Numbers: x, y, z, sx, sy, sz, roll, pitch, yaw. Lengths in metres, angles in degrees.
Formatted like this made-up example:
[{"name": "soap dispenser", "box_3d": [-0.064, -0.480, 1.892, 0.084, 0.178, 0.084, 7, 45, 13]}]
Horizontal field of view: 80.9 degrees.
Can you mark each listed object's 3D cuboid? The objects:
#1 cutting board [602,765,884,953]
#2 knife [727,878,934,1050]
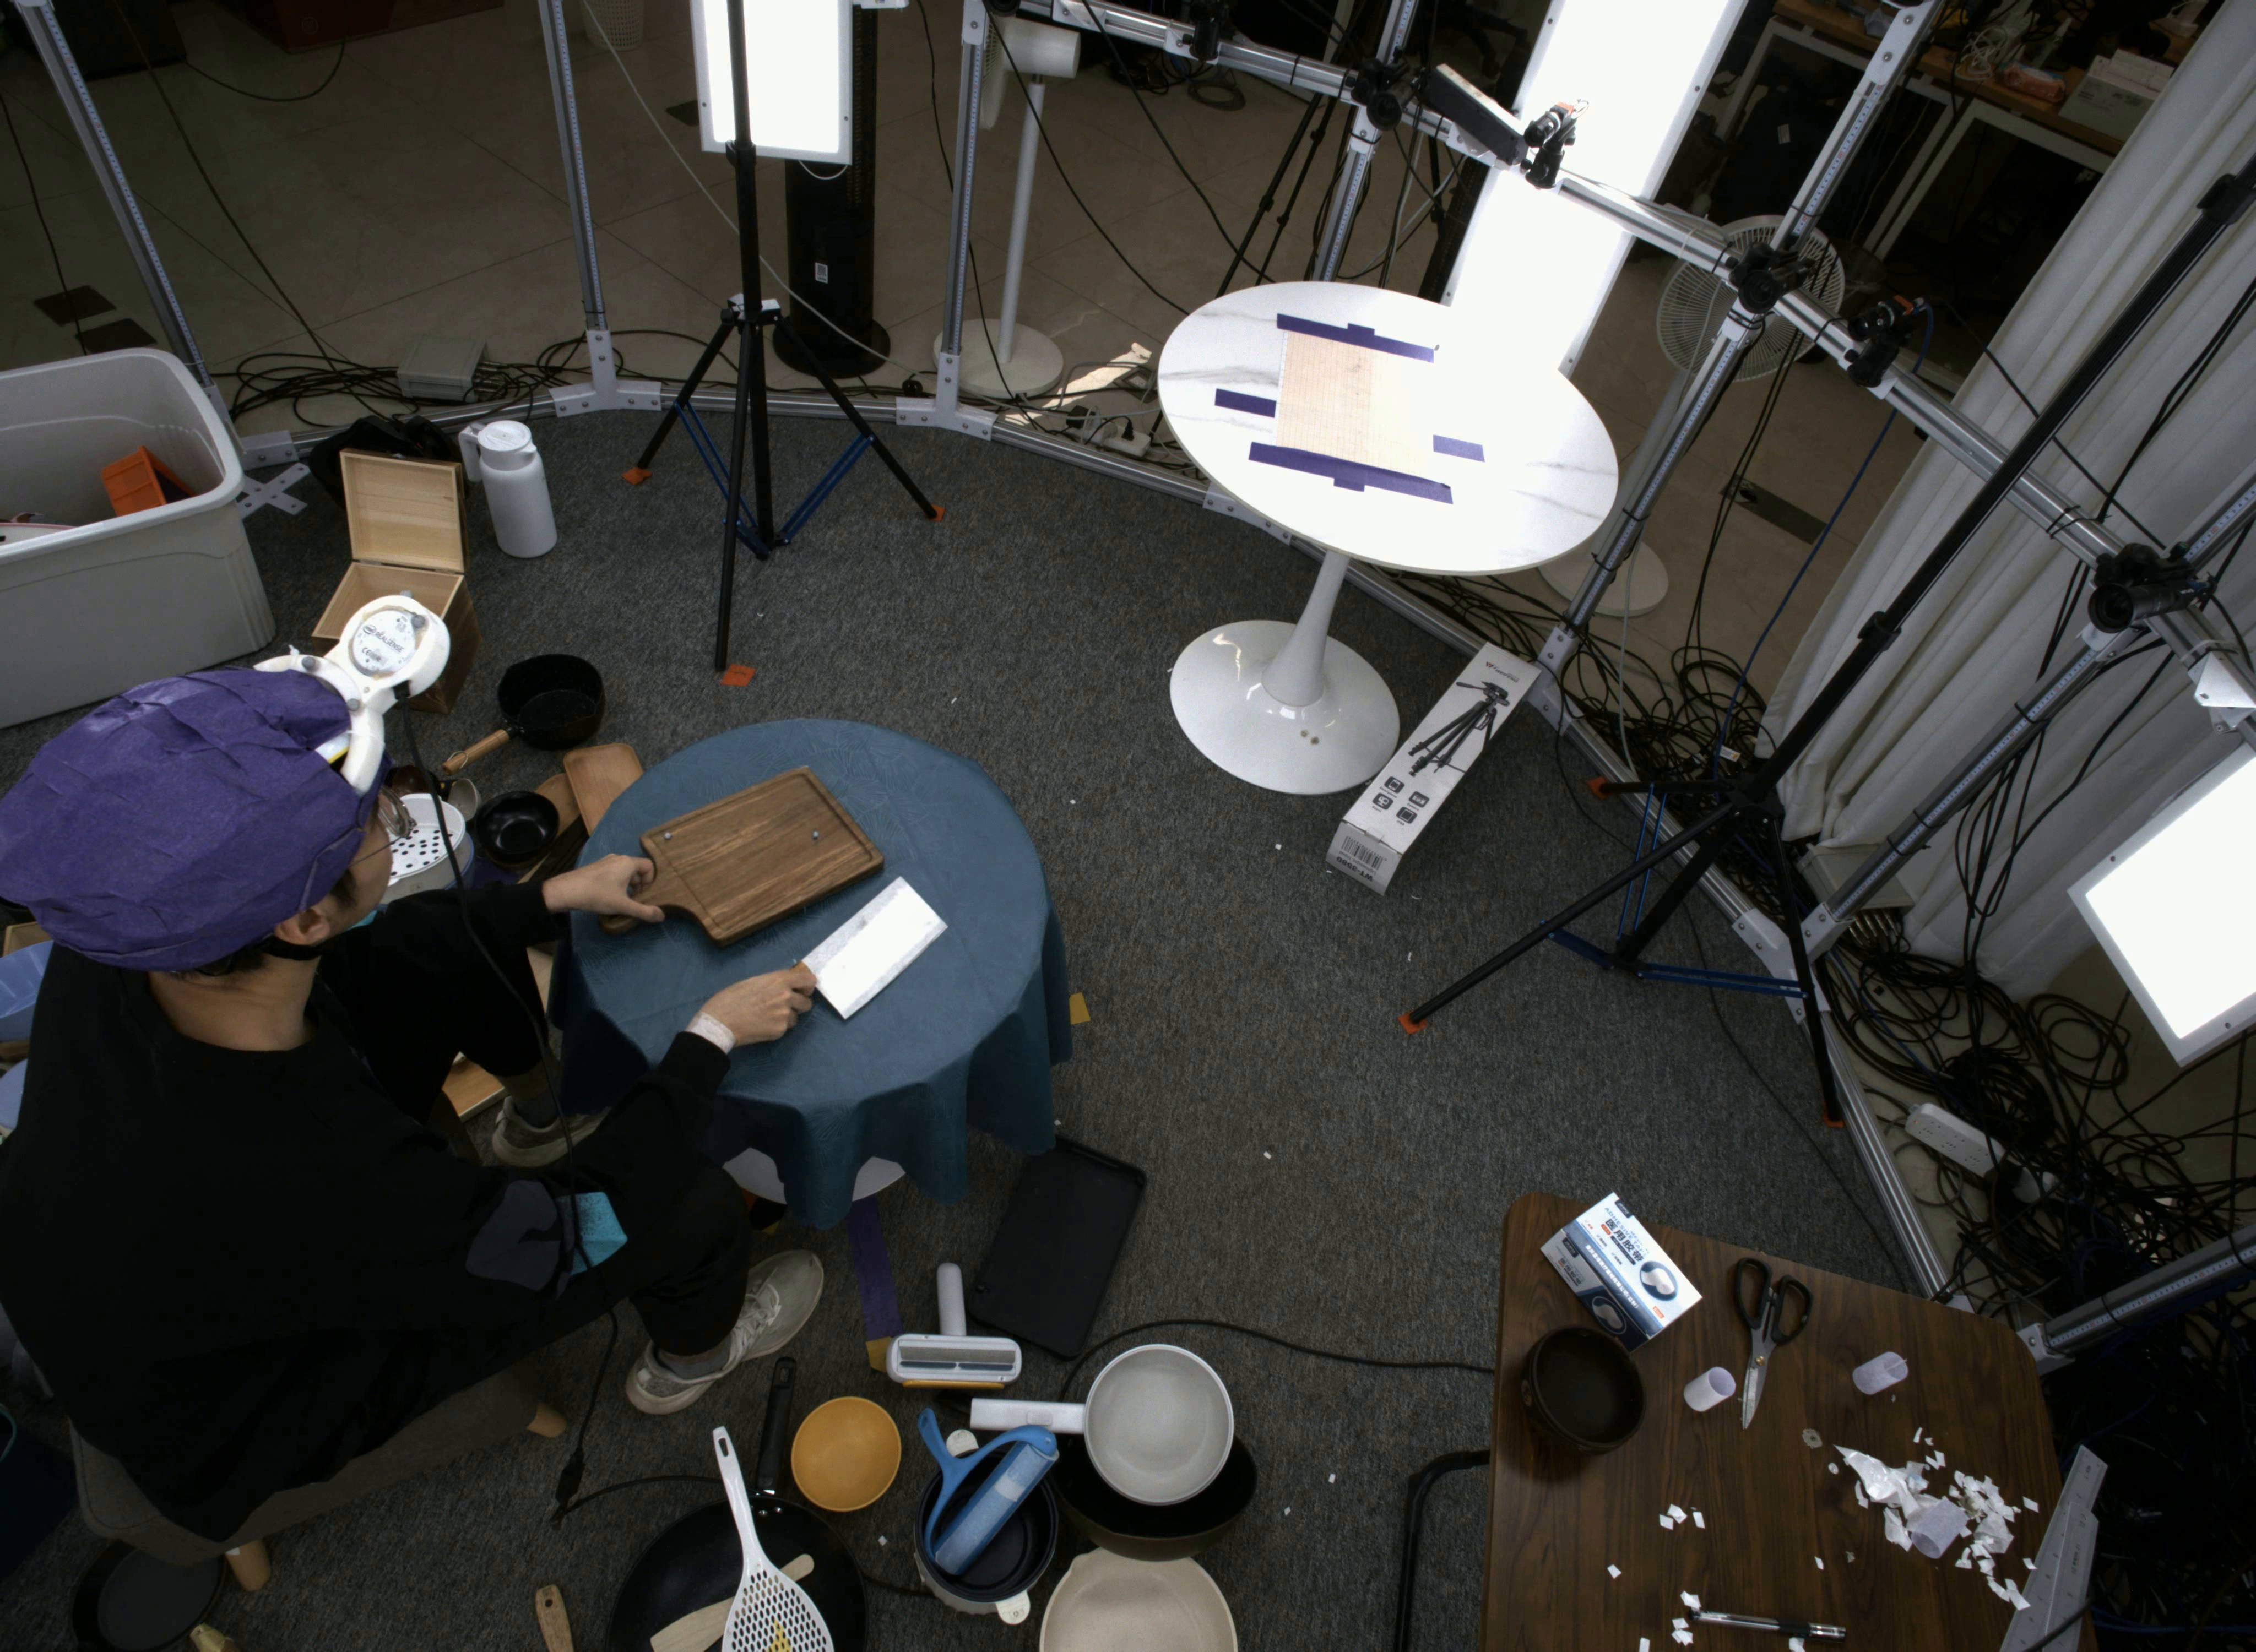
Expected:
[{"name": "cutting board", "box_3d": [-0.503, 0.053, 1.625, 0.354, 0.023, 0.196, -30, 66, -35]}, {"name": "knife", "box_3d": [-0.348, 0.177, 1.573, 0.093, 0.021, 0.305, 48, 52, -3]}]
